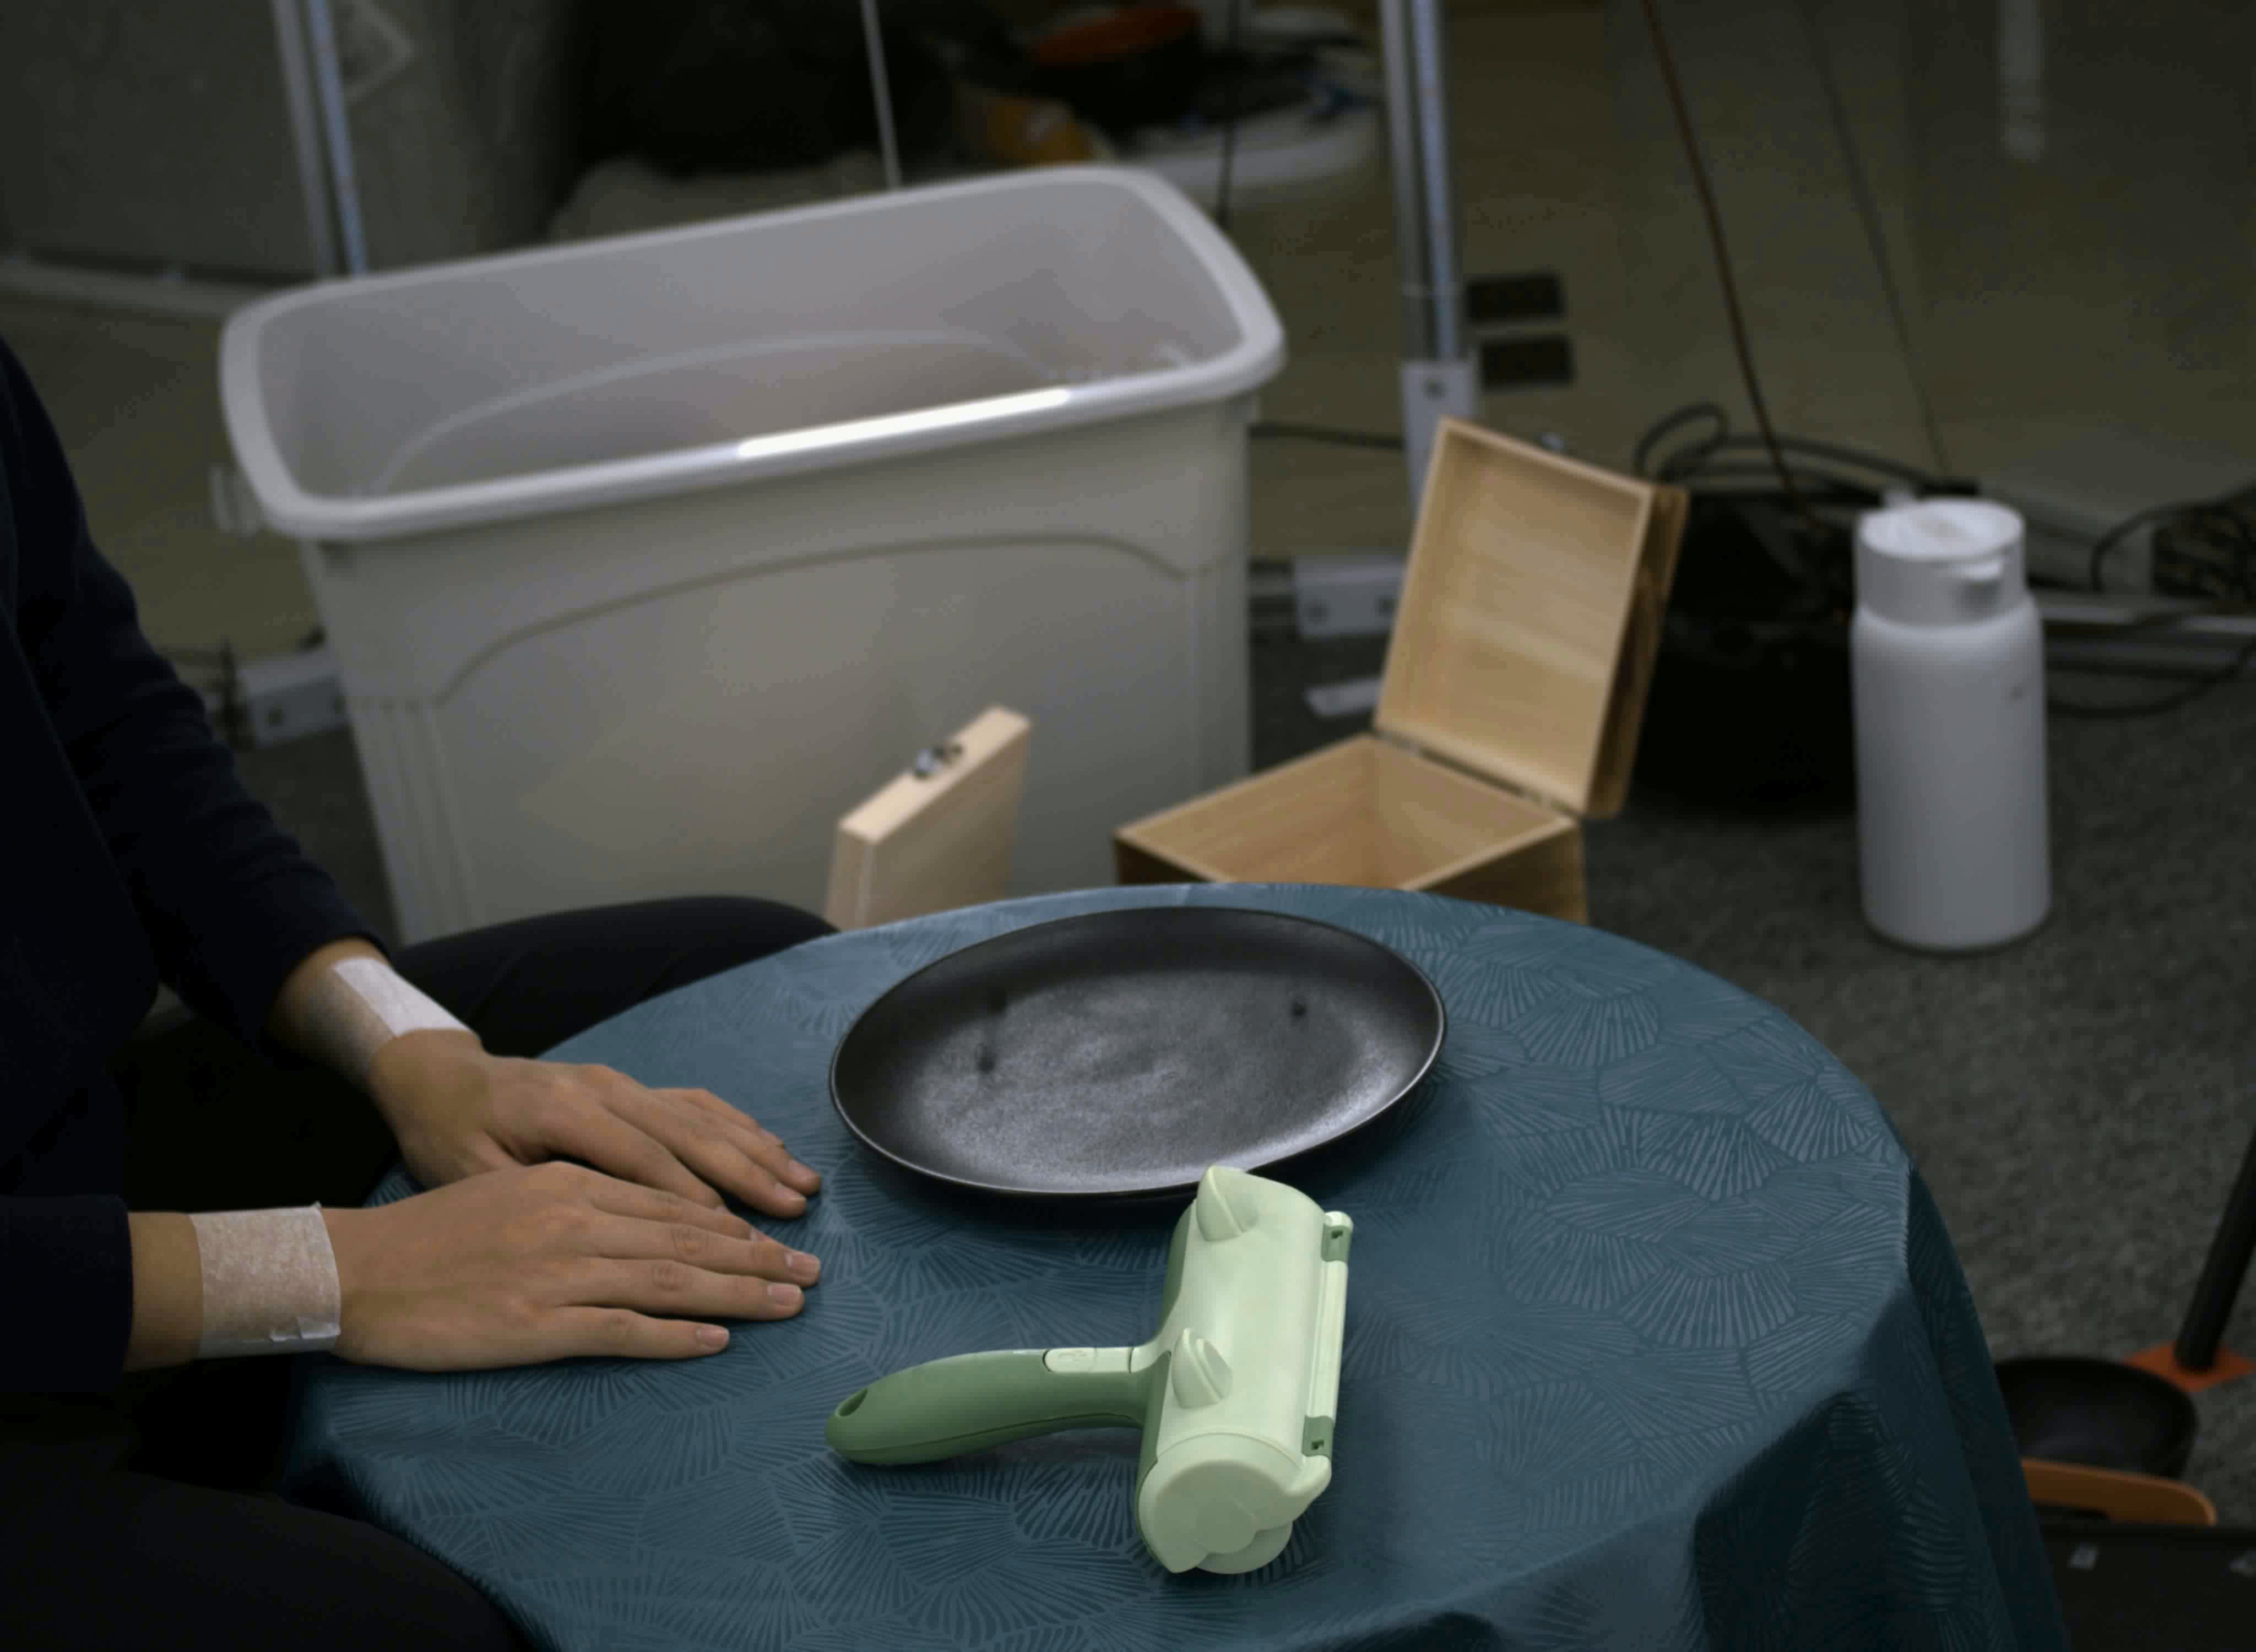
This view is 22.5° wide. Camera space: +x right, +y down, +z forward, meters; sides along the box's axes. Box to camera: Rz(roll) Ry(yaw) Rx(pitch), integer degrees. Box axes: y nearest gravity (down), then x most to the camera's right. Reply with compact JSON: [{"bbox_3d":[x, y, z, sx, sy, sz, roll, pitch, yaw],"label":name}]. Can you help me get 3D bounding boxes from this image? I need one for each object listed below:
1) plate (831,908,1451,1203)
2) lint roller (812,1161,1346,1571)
[{"bbox_3d":[0.006,0.094,2.214,0.244,0.024,0.241,-5,25,3],"label":"plate"},{"bbox_3d":[-0.019,0.178,1.964,0.183,0.083,0.196,2,25,3],"label":"lint roller"}]
